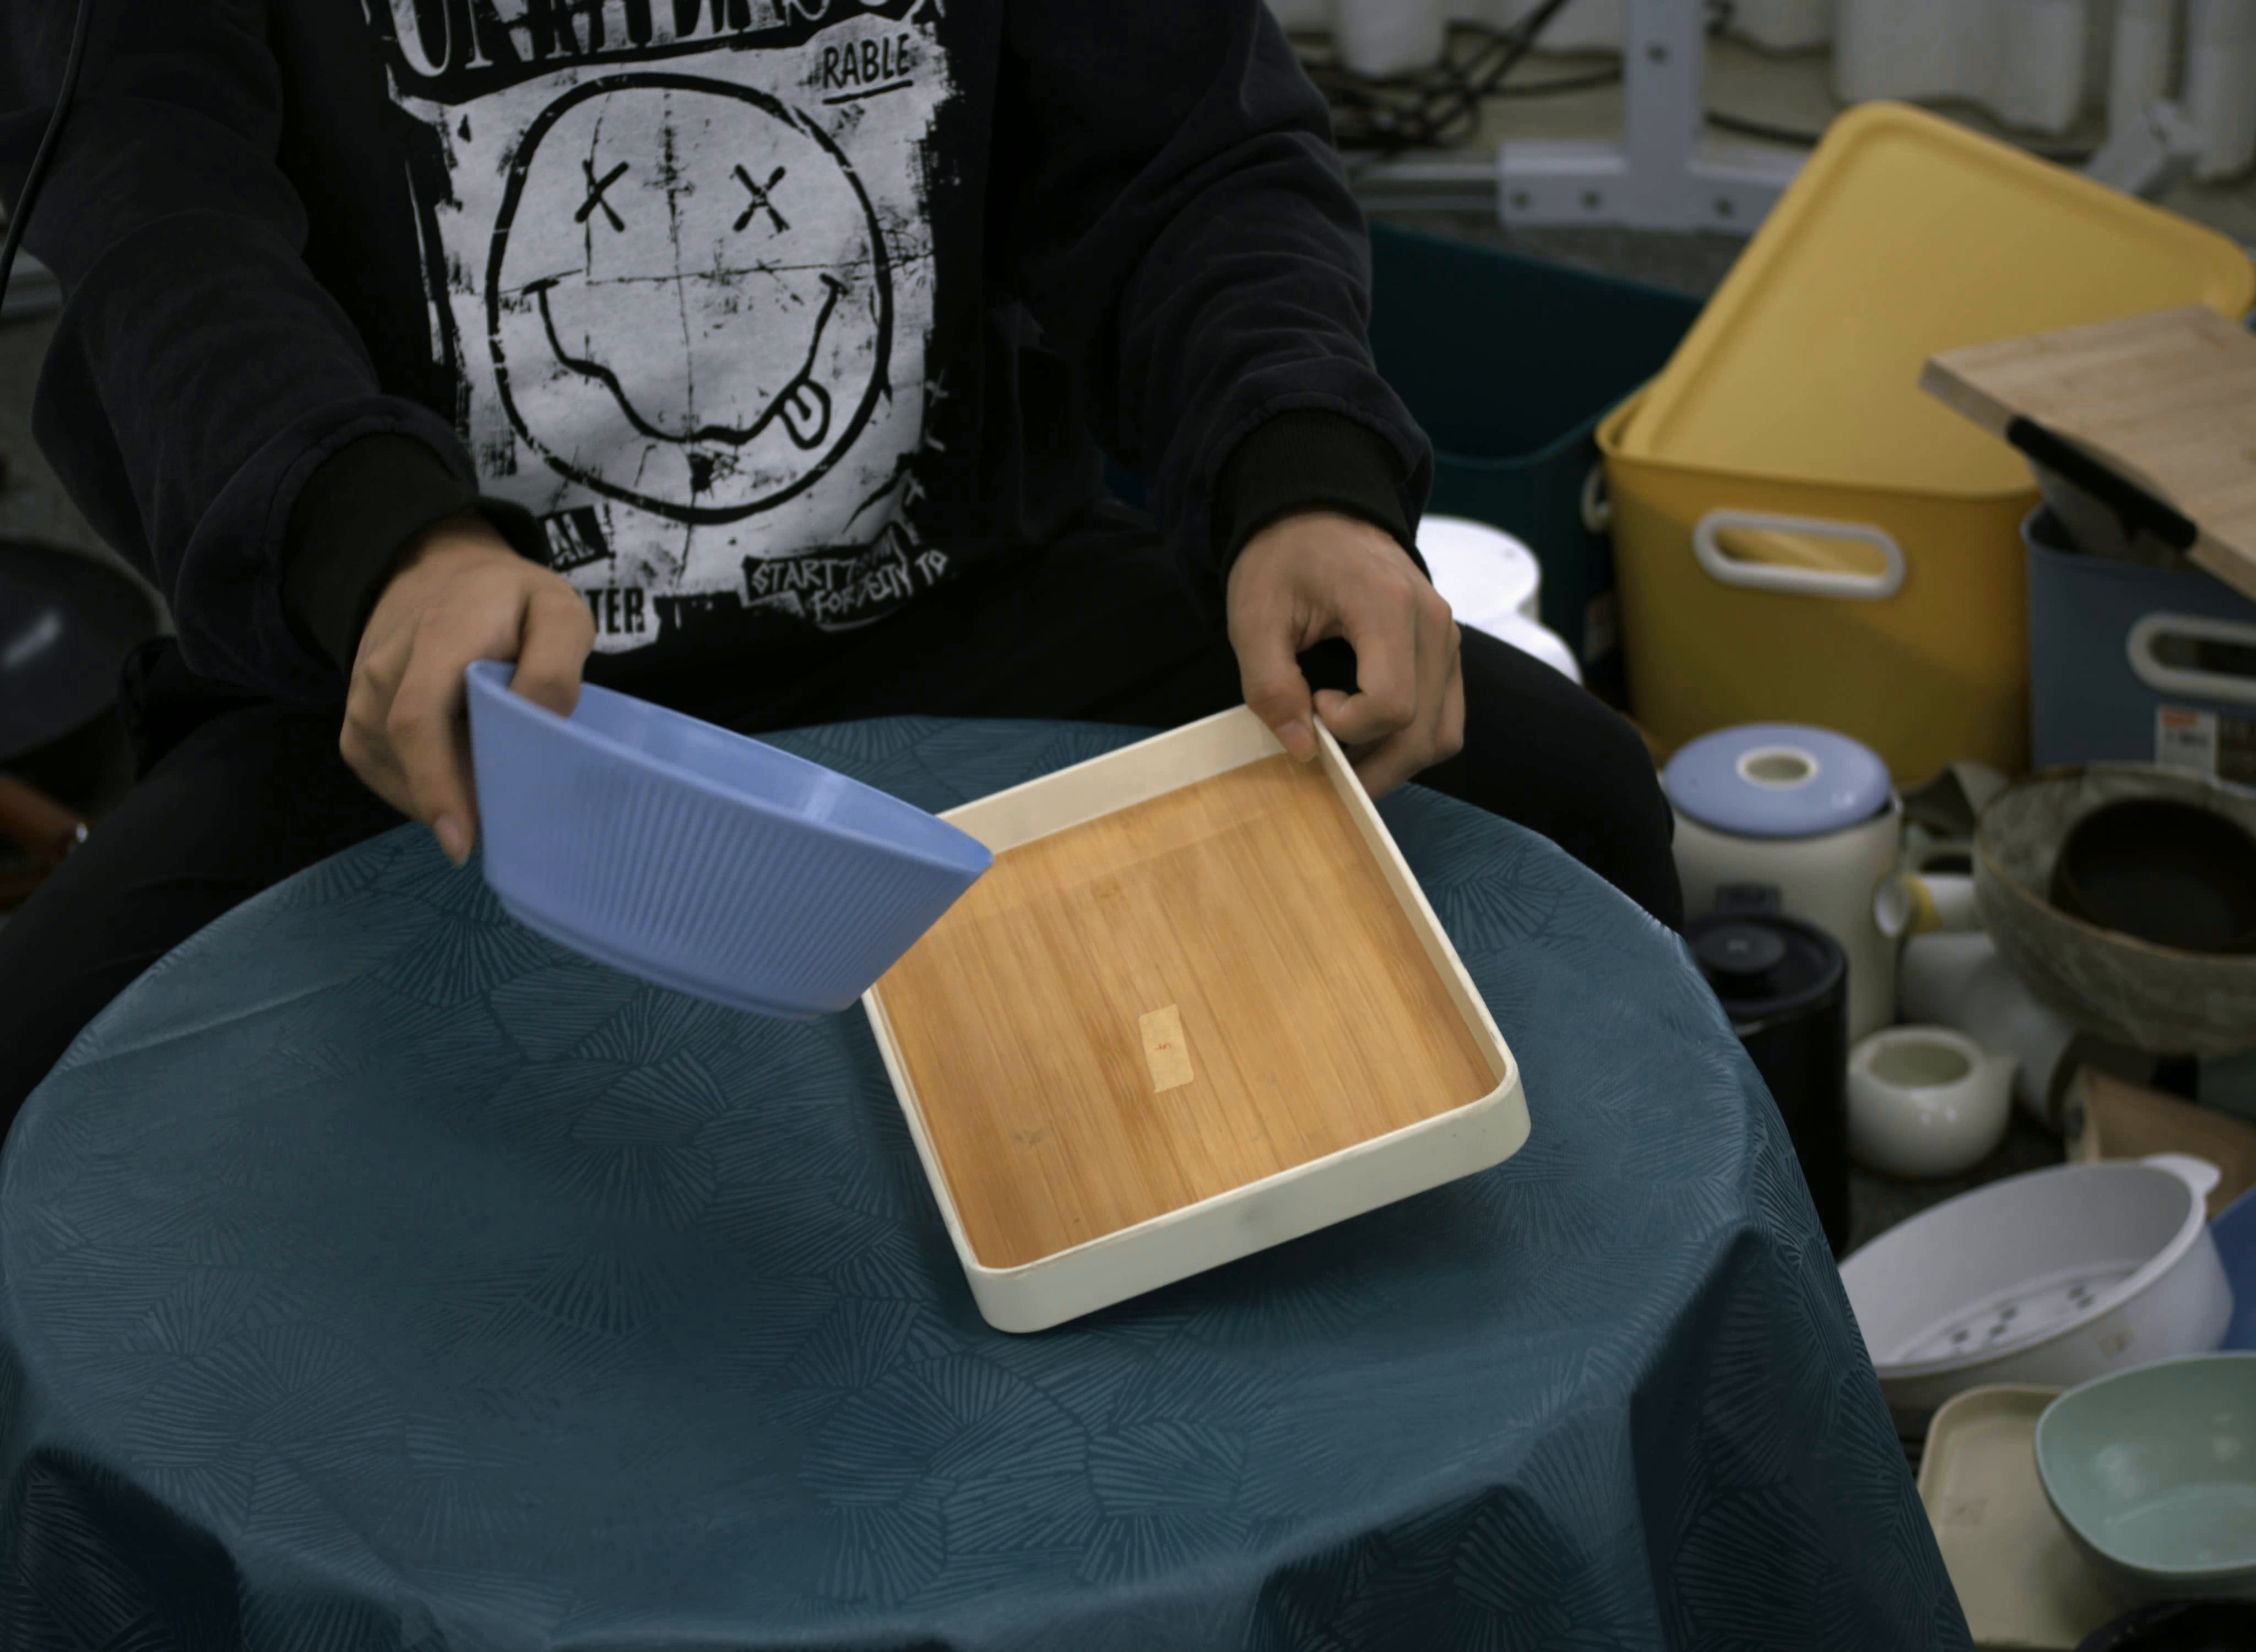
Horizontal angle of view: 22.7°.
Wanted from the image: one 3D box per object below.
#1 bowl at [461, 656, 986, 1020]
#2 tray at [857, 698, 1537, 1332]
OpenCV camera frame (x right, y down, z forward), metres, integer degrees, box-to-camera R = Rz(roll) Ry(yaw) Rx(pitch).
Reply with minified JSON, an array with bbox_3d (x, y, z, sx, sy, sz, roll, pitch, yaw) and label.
[{"bbox_3d":[-0.137,0.009,1.767,0.175,0.070,0.176,21,6,-2],"label":"bowl"},{"bbox_3d":[0.012,0.058,1.912,0.191,0.027,0.304,-19,29,-4],"label":"tray"}]
